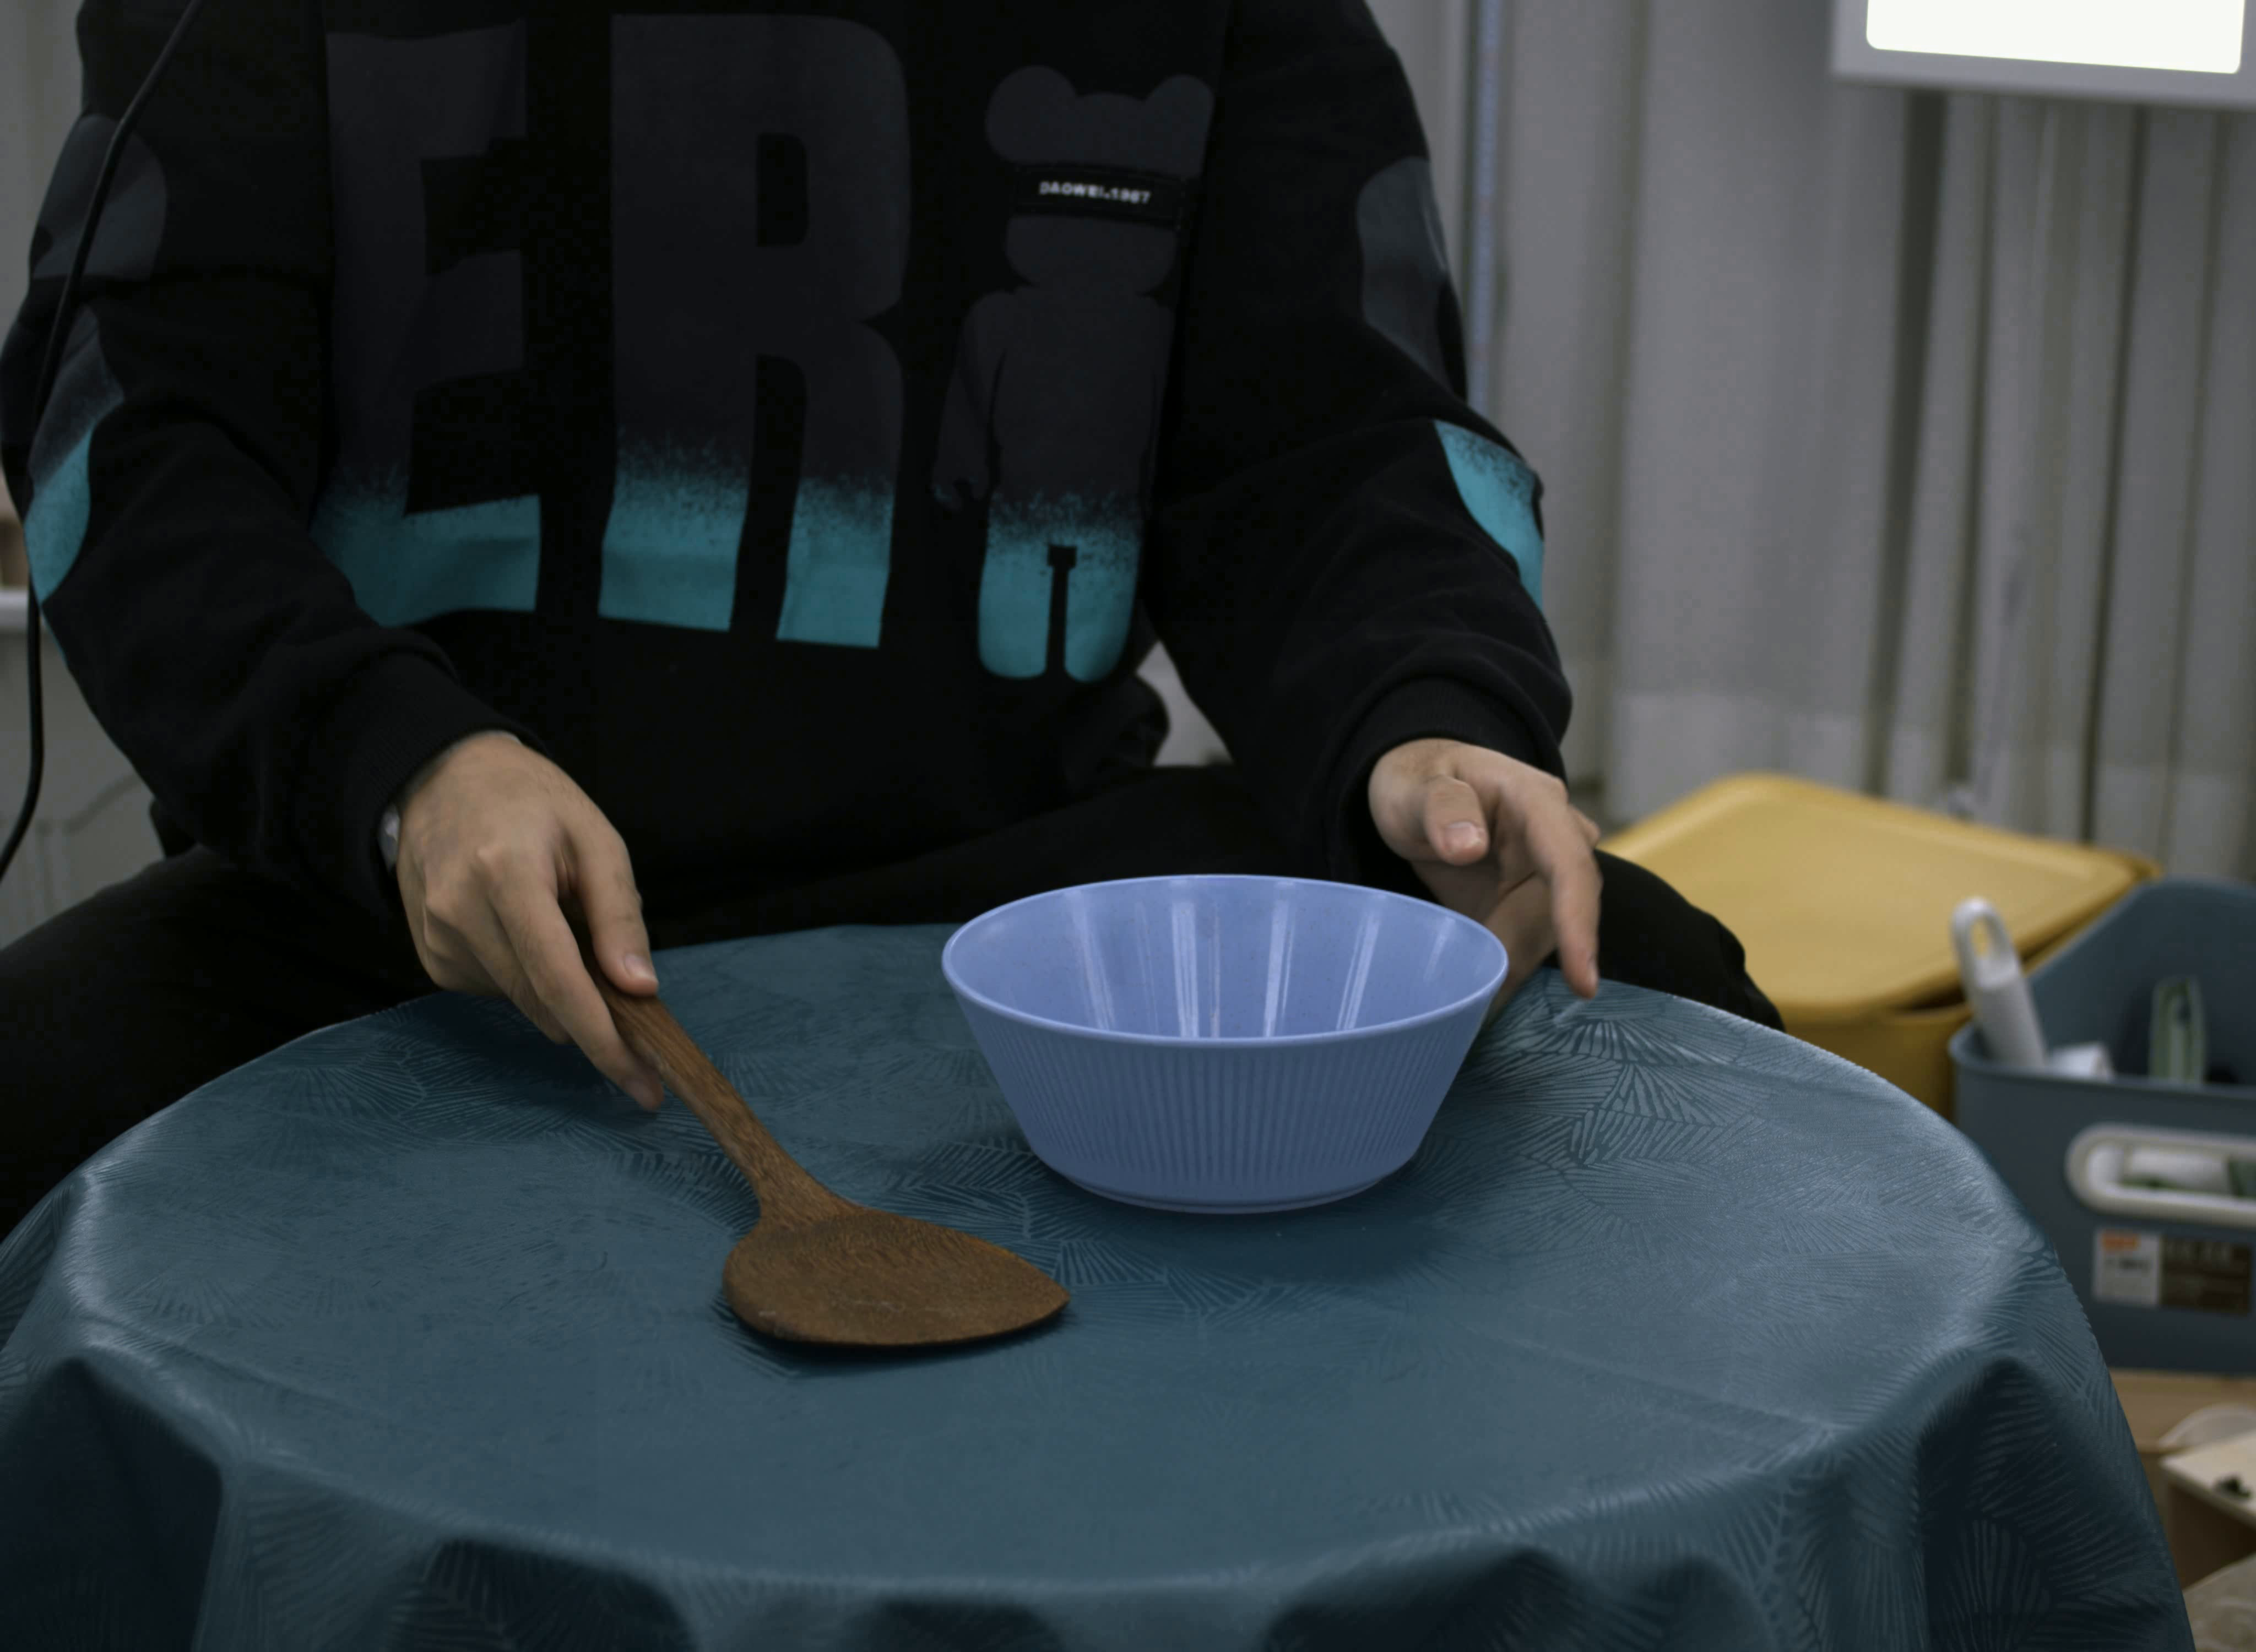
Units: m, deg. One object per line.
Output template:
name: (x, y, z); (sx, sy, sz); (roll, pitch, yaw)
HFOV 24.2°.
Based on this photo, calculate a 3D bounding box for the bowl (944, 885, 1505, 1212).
bowl: (0.030, 0.072, 1.645); (0.175, 0.071, 0.175); (0, 15, 0)

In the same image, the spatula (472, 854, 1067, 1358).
spatula: (-0.134, 0.080, 1.646); (0.096, 0.016, 0.381); (-4, 24, -26)
